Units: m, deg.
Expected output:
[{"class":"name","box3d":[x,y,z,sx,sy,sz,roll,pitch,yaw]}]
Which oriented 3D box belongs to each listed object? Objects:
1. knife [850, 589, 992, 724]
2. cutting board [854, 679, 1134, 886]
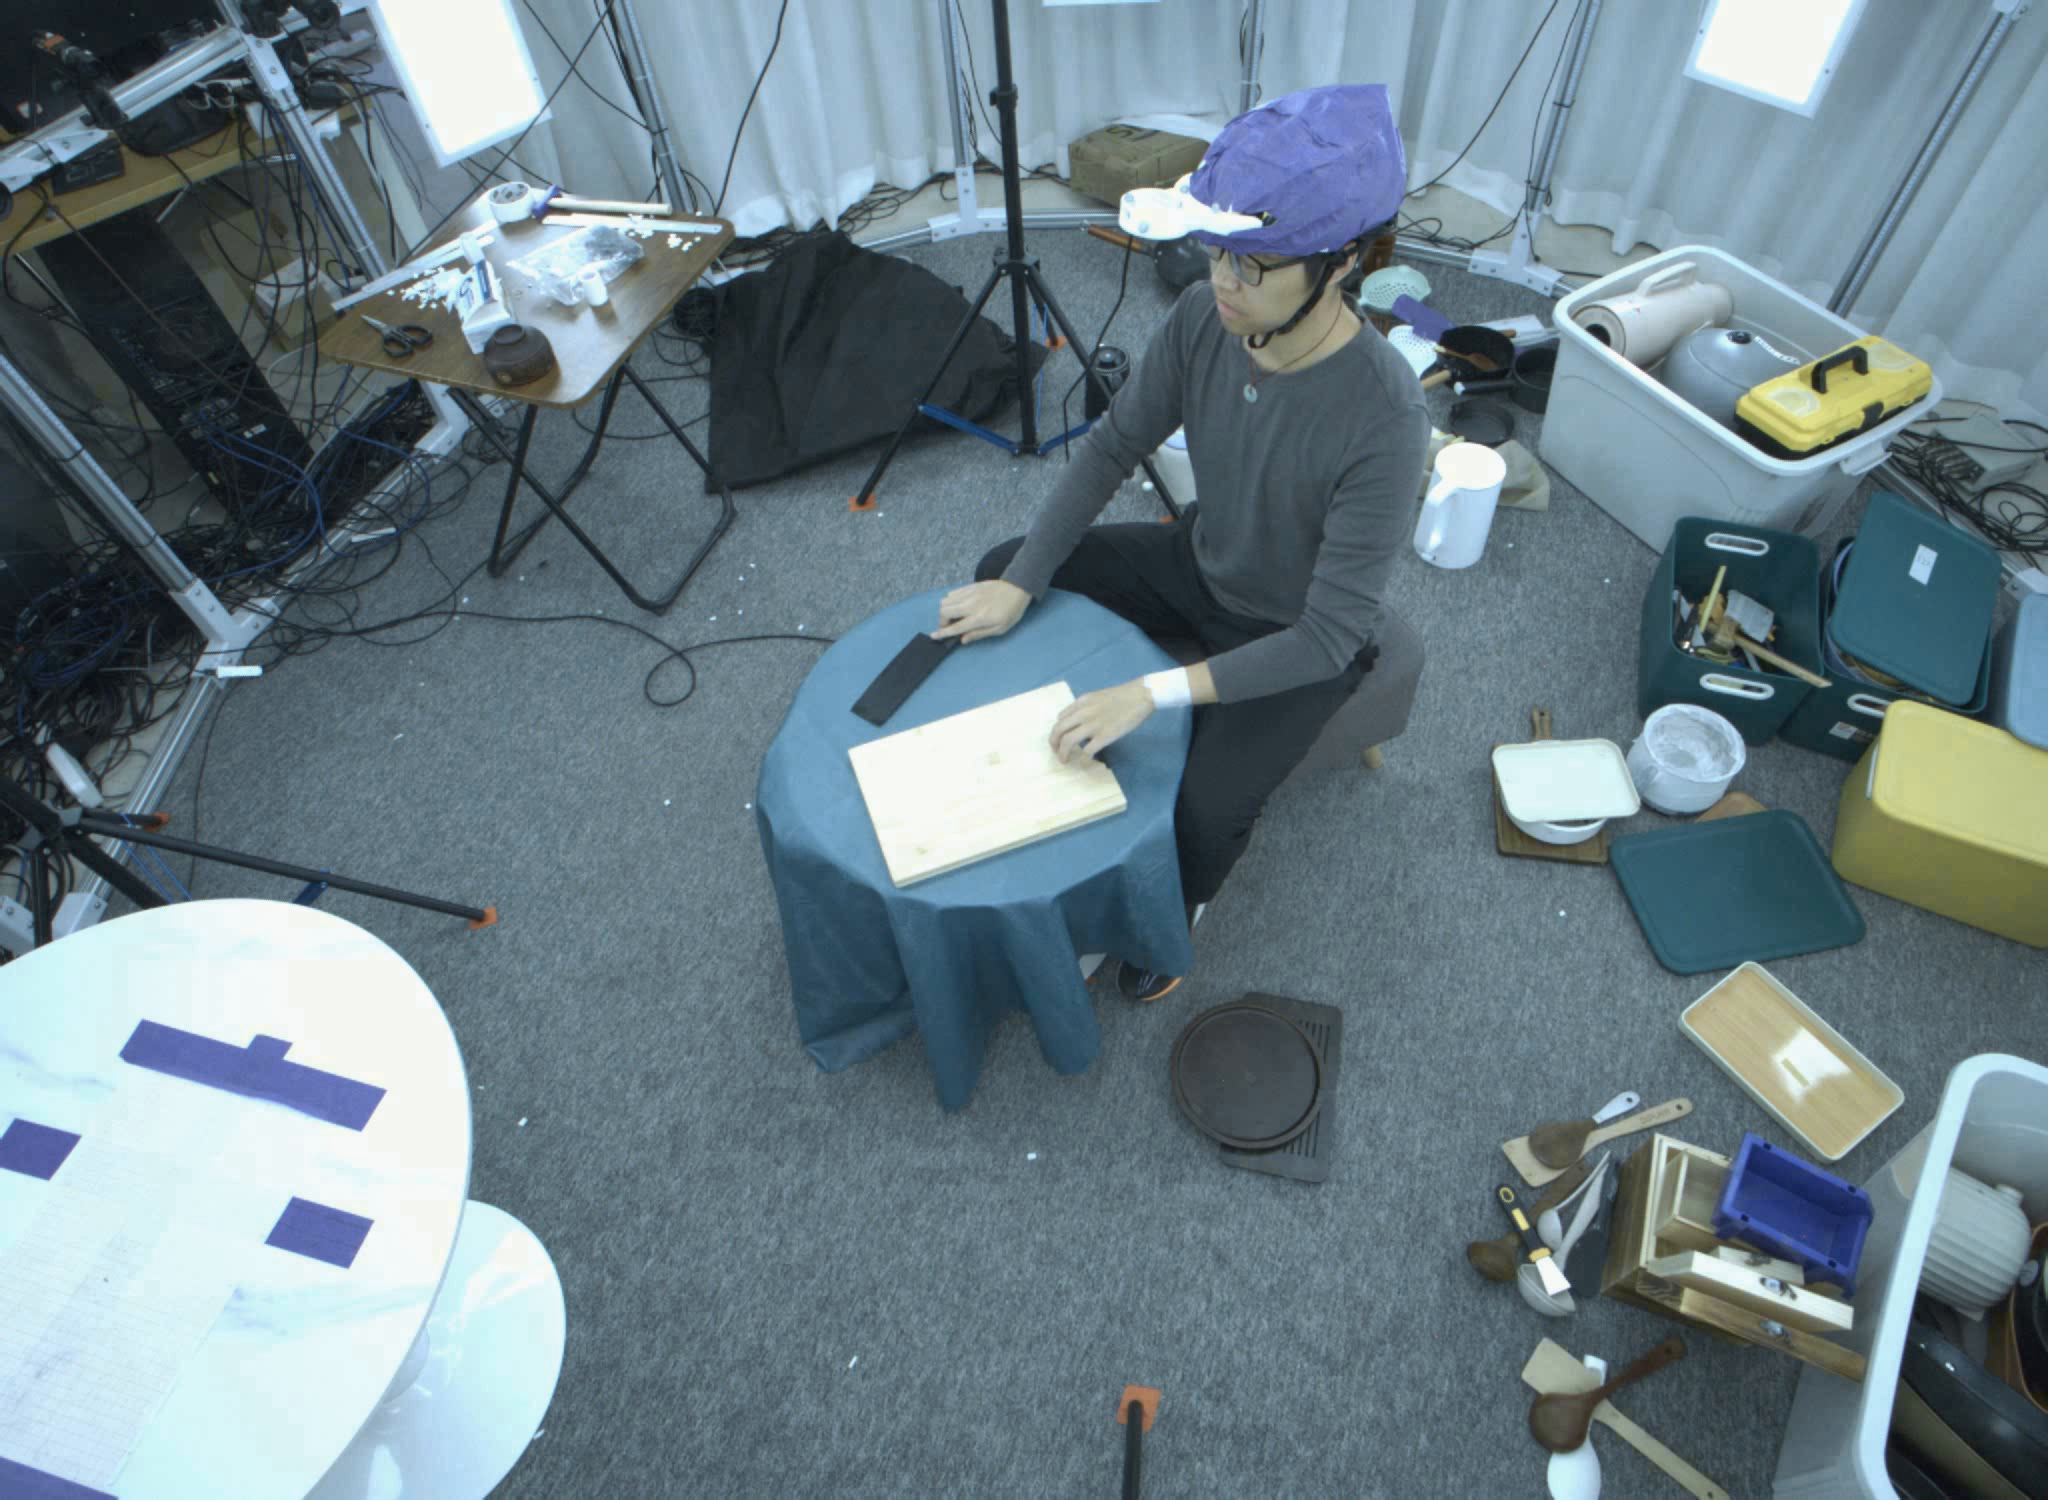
[{"class":"knife","box3d":[-0.153,-0.151,1.899,0.079,0.021,0.304,31,62,25]},{"class":"cutting board","box3d":[-0.051,0.039,1.758,0.351,0.024,0.246,-19,57,-12]}]
